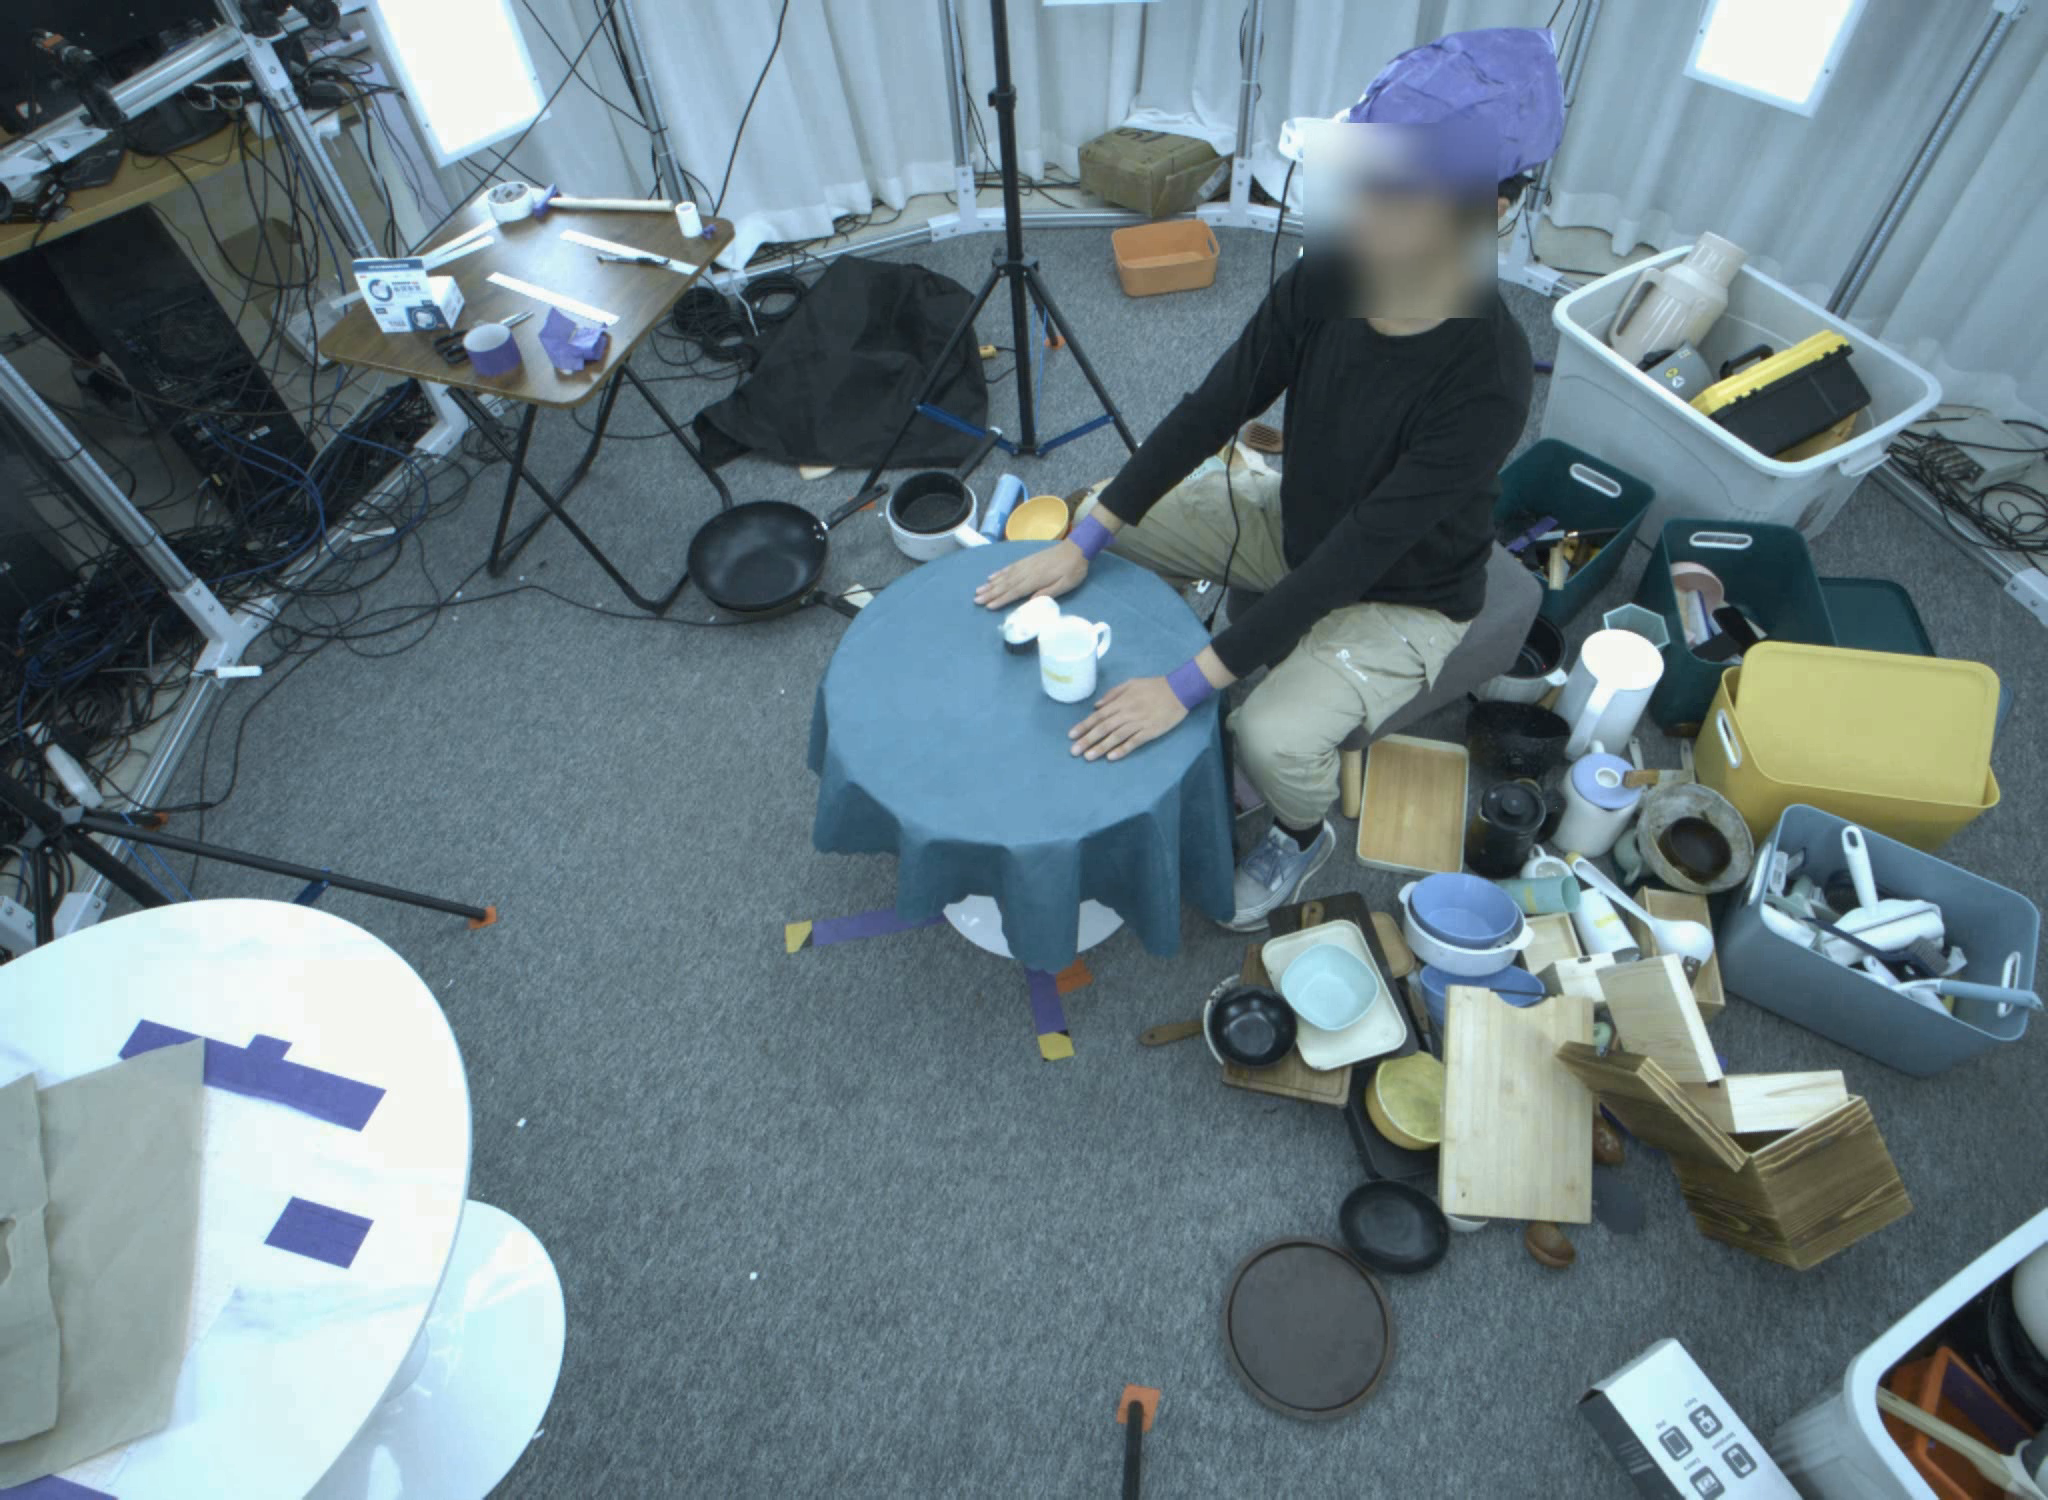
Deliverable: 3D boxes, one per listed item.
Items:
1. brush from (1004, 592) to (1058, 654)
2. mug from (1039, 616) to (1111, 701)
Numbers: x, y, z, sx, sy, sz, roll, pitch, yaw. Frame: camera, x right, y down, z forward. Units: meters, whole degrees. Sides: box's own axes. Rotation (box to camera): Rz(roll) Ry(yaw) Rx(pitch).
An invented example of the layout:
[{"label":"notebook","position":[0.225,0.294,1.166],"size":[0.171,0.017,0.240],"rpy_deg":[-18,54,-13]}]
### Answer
[{"label":"brush","position":[0.010,-0.202,1.887],"size":[0.100,0.073,0.049],"rpy_deg":[-41,66,-19]},{"label":"mug","position":[0.079,-0.142,1.823],"size":[0.119,0.103,0.083],"rpy_deg":[-35,59,-20]}]
